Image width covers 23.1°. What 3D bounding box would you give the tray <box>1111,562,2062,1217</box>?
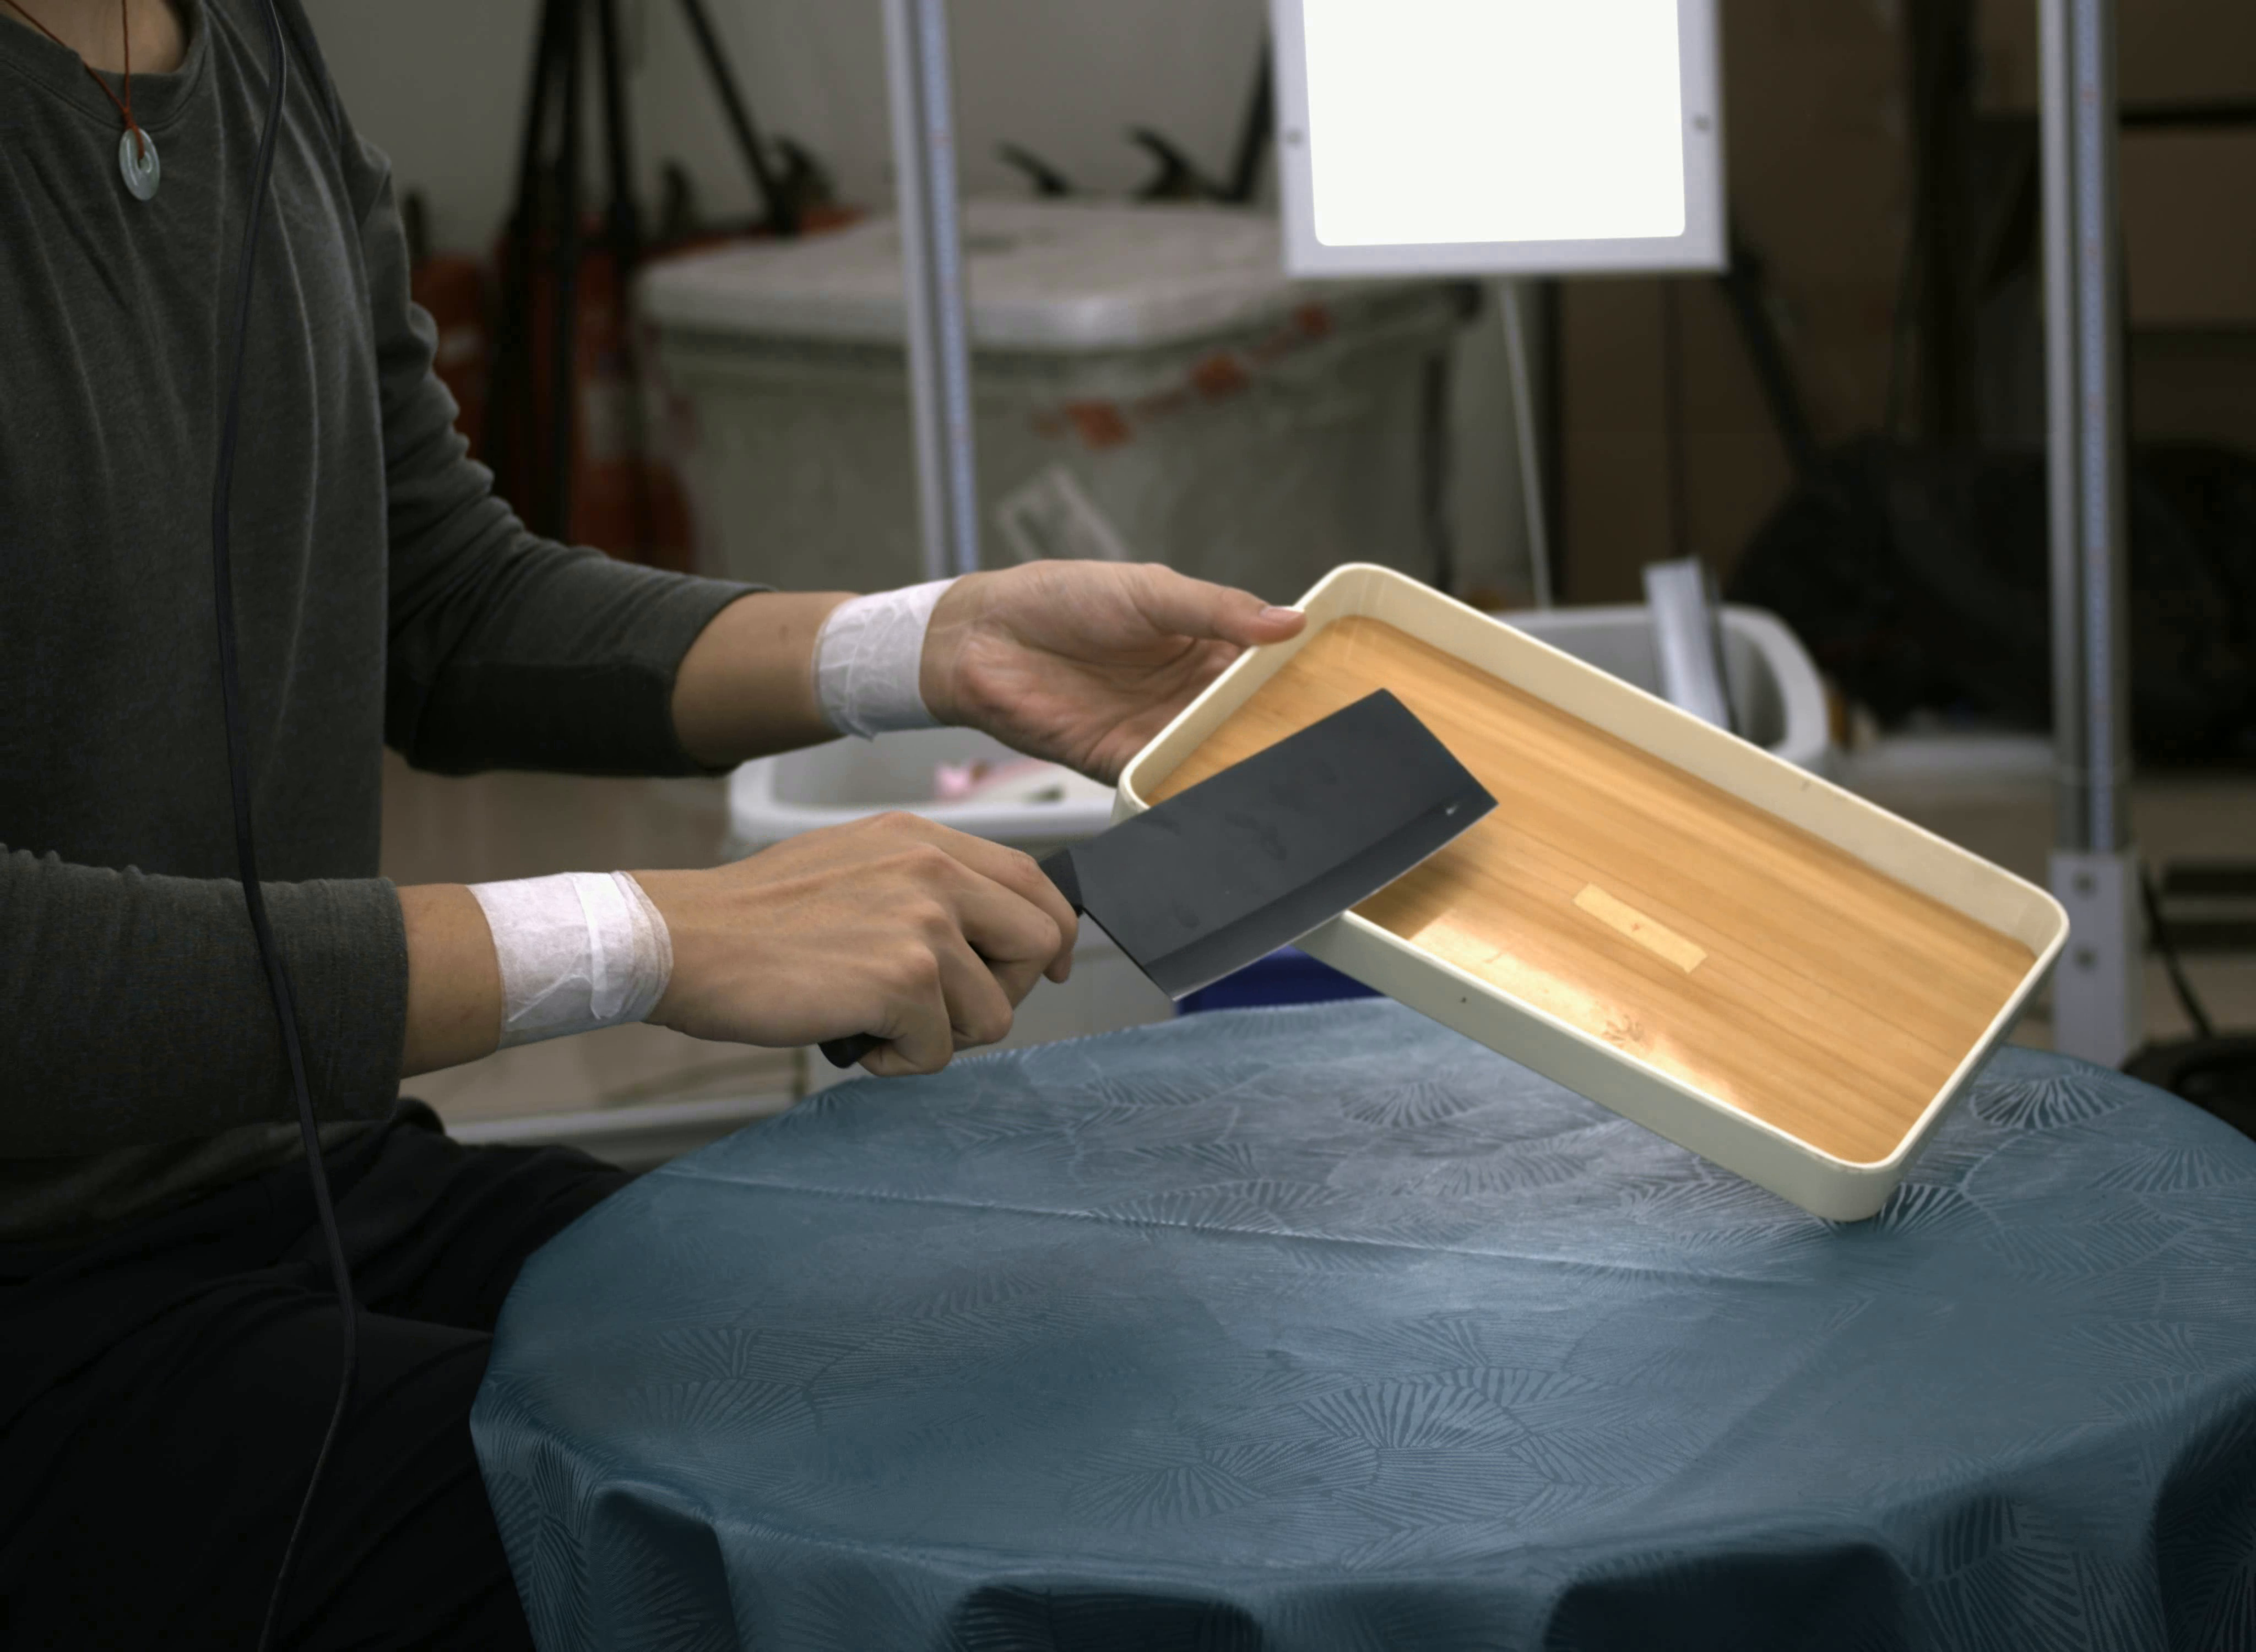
[{"bbox_3d":[0.161,0.017,1.903,0.303,0.028,0.187,27,40,19],"label":"tray"}]

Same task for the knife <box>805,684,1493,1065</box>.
[{"bbox_3d":[0.009,0.020,1.821,0.295,0.021,0.081,-22,61,-38],"label":"knife"}]
